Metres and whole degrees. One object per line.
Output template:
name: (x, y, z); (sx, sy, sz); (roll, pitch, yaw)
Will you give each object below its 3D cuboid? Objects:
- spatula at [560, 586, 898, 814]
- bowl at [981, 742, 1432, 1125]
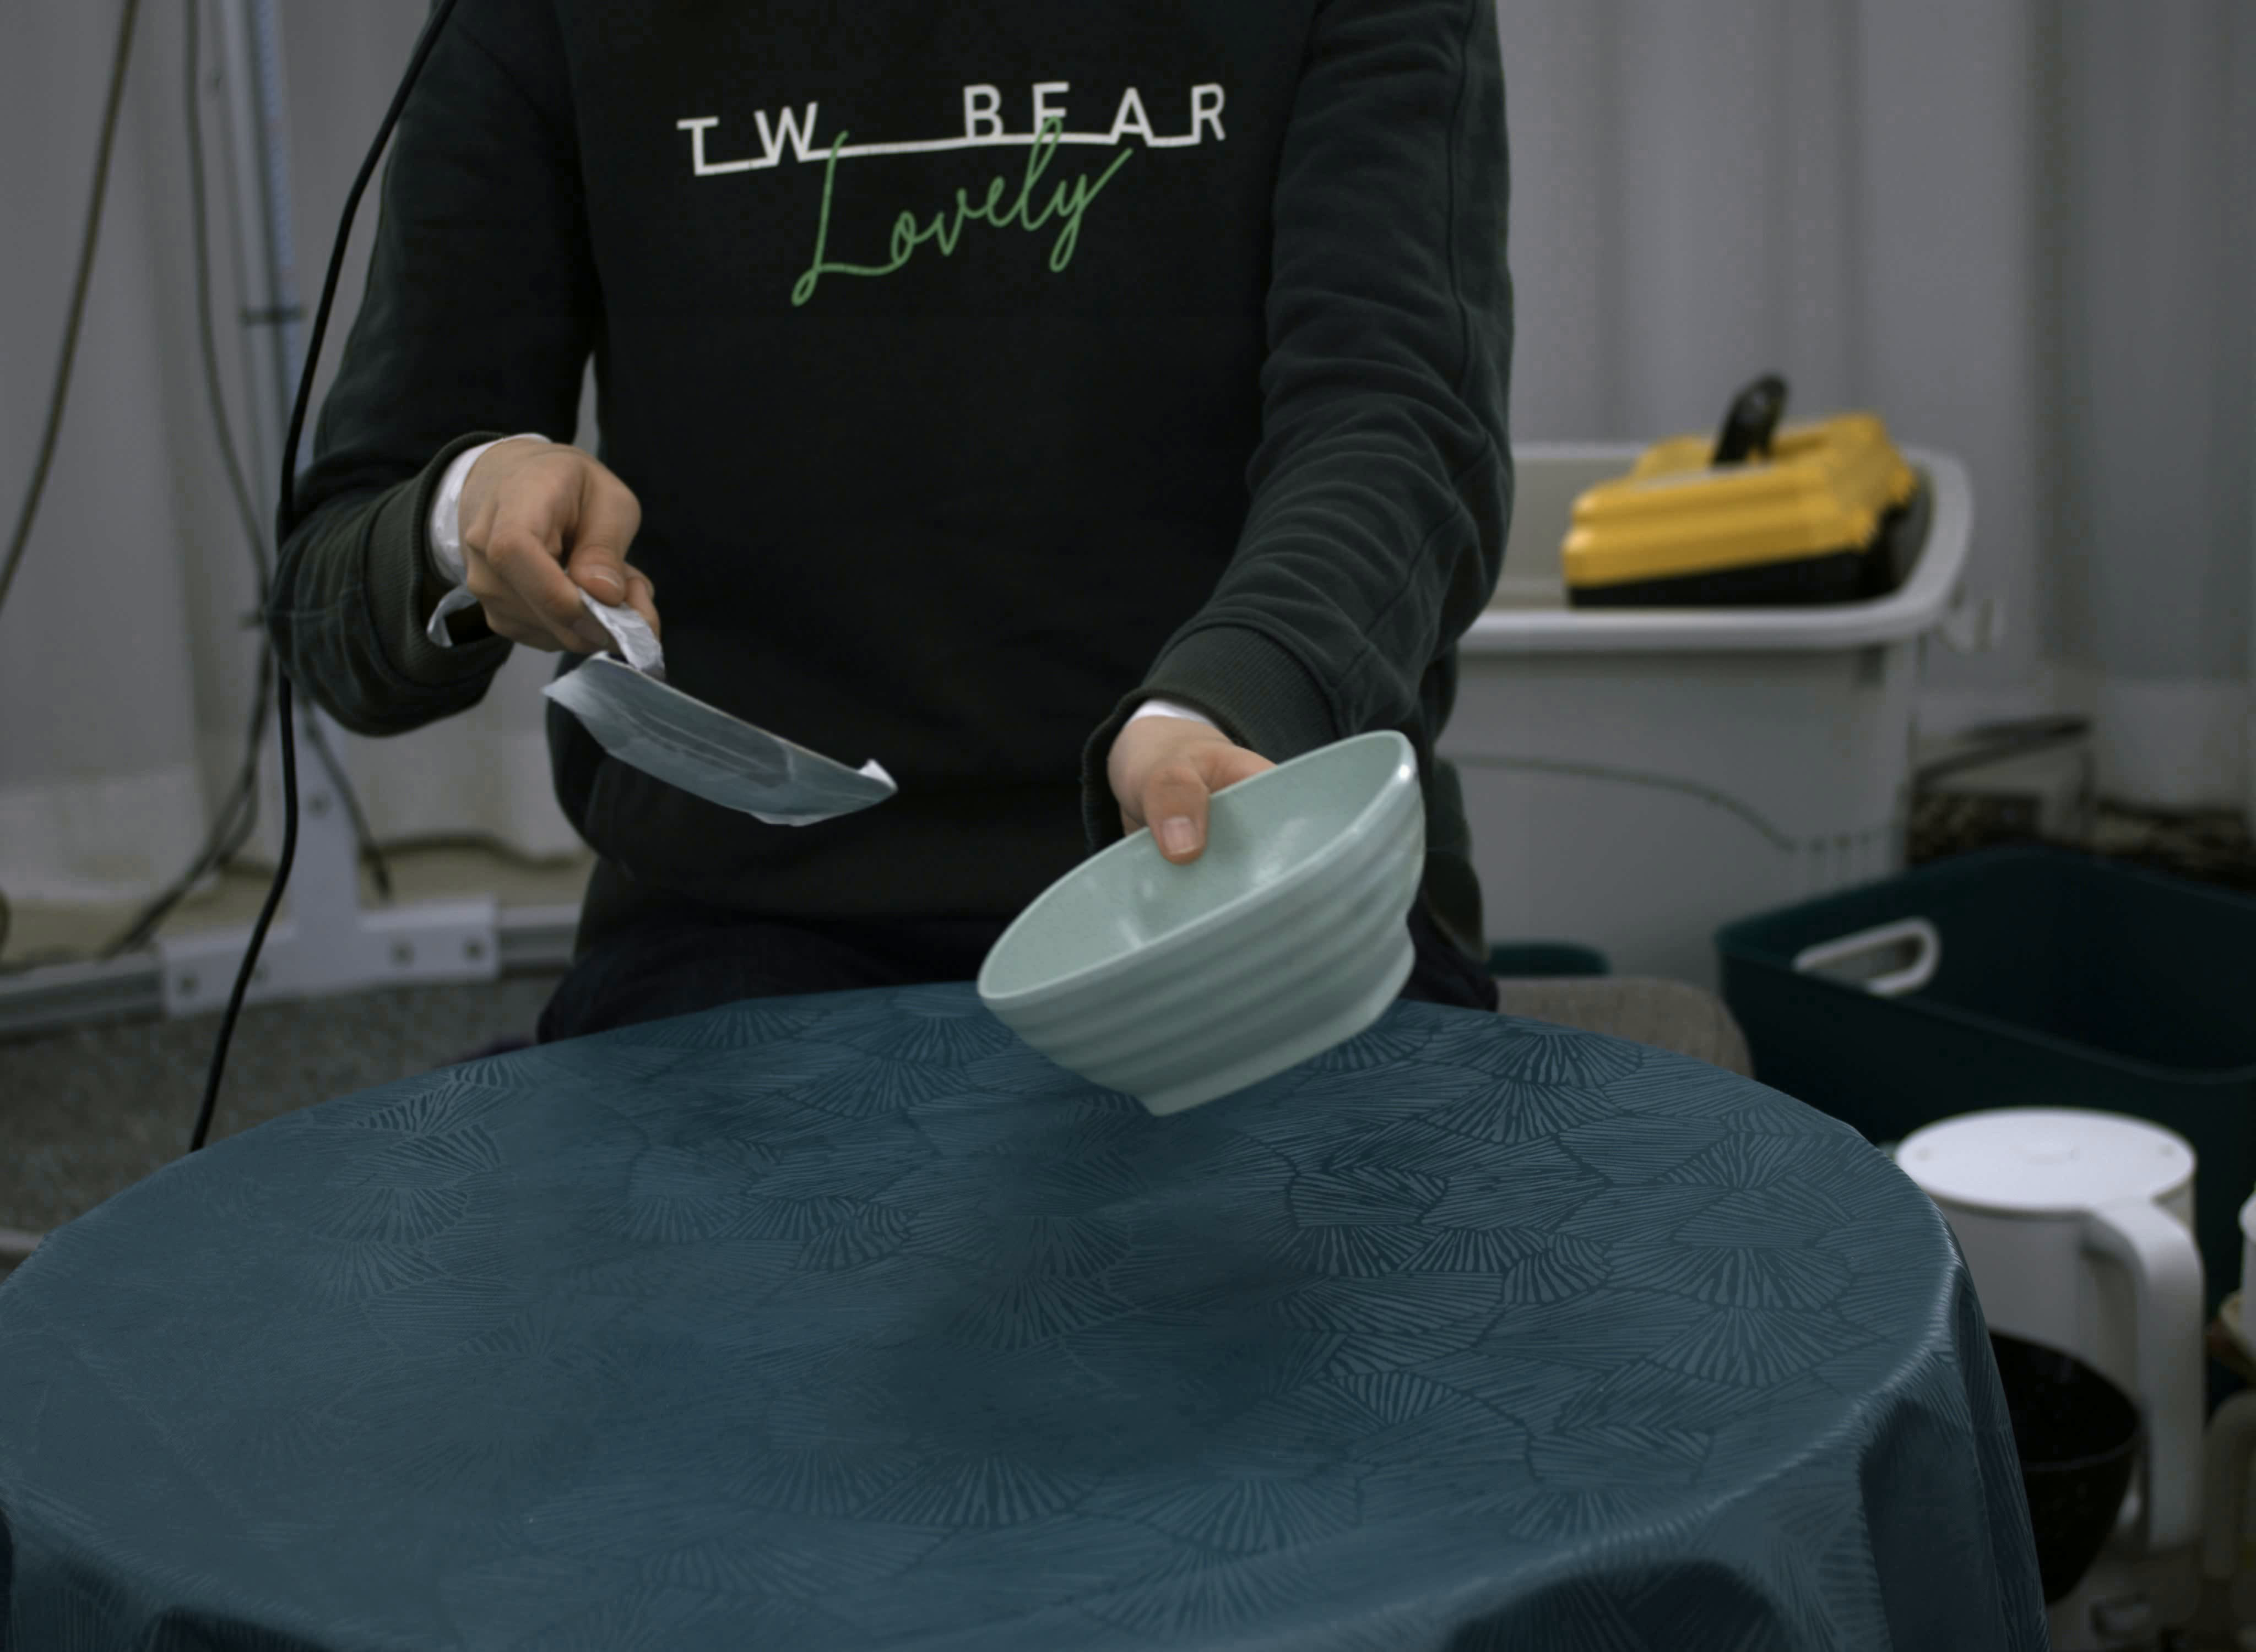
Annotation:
spatula: (-0.147, -0.053, 1.713); (0.098, 0.045, 0.367); (22, 8, -15)
bowl: (0.033, 0.037, 1.588); (0.151, 0.058, 0.152); (-25, 14, 6)
